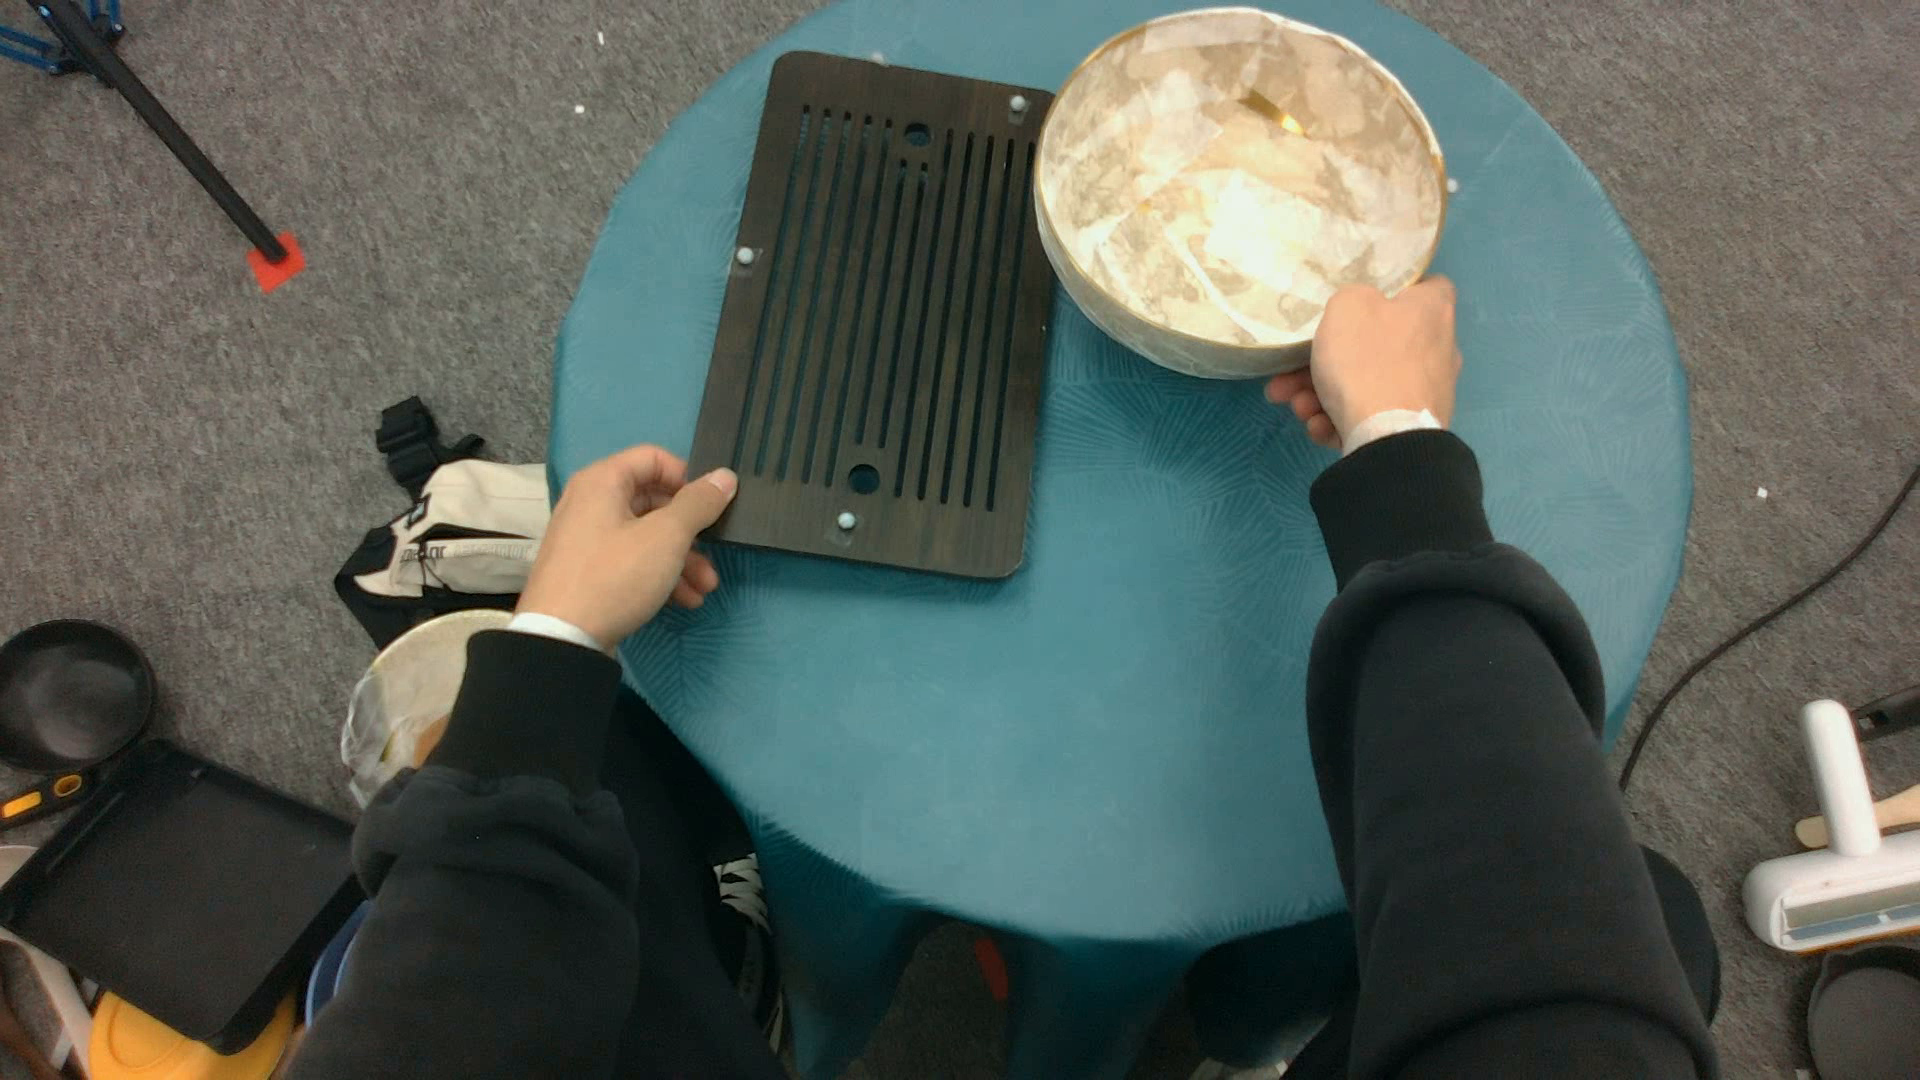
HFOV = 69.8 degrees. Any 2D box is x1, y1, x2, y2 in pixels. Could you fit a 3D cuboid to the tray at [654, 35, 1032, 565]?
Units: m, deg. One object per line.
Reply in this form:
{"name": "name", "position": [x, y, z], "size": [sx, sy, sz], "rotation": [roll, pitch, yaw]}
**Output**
{"name": "tray", "position": [-0.051, -0.136, 0.730], "size": [0.170, 0.018, 0.307], "rotation": [8, 66, -4]}

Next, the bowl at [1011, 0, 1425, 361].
{"name": "bowl", "position": [0.120, -0.170, 0.707], "size": [0.215, 0.094, 0.215], "rotation": [2, 67, -4]}
